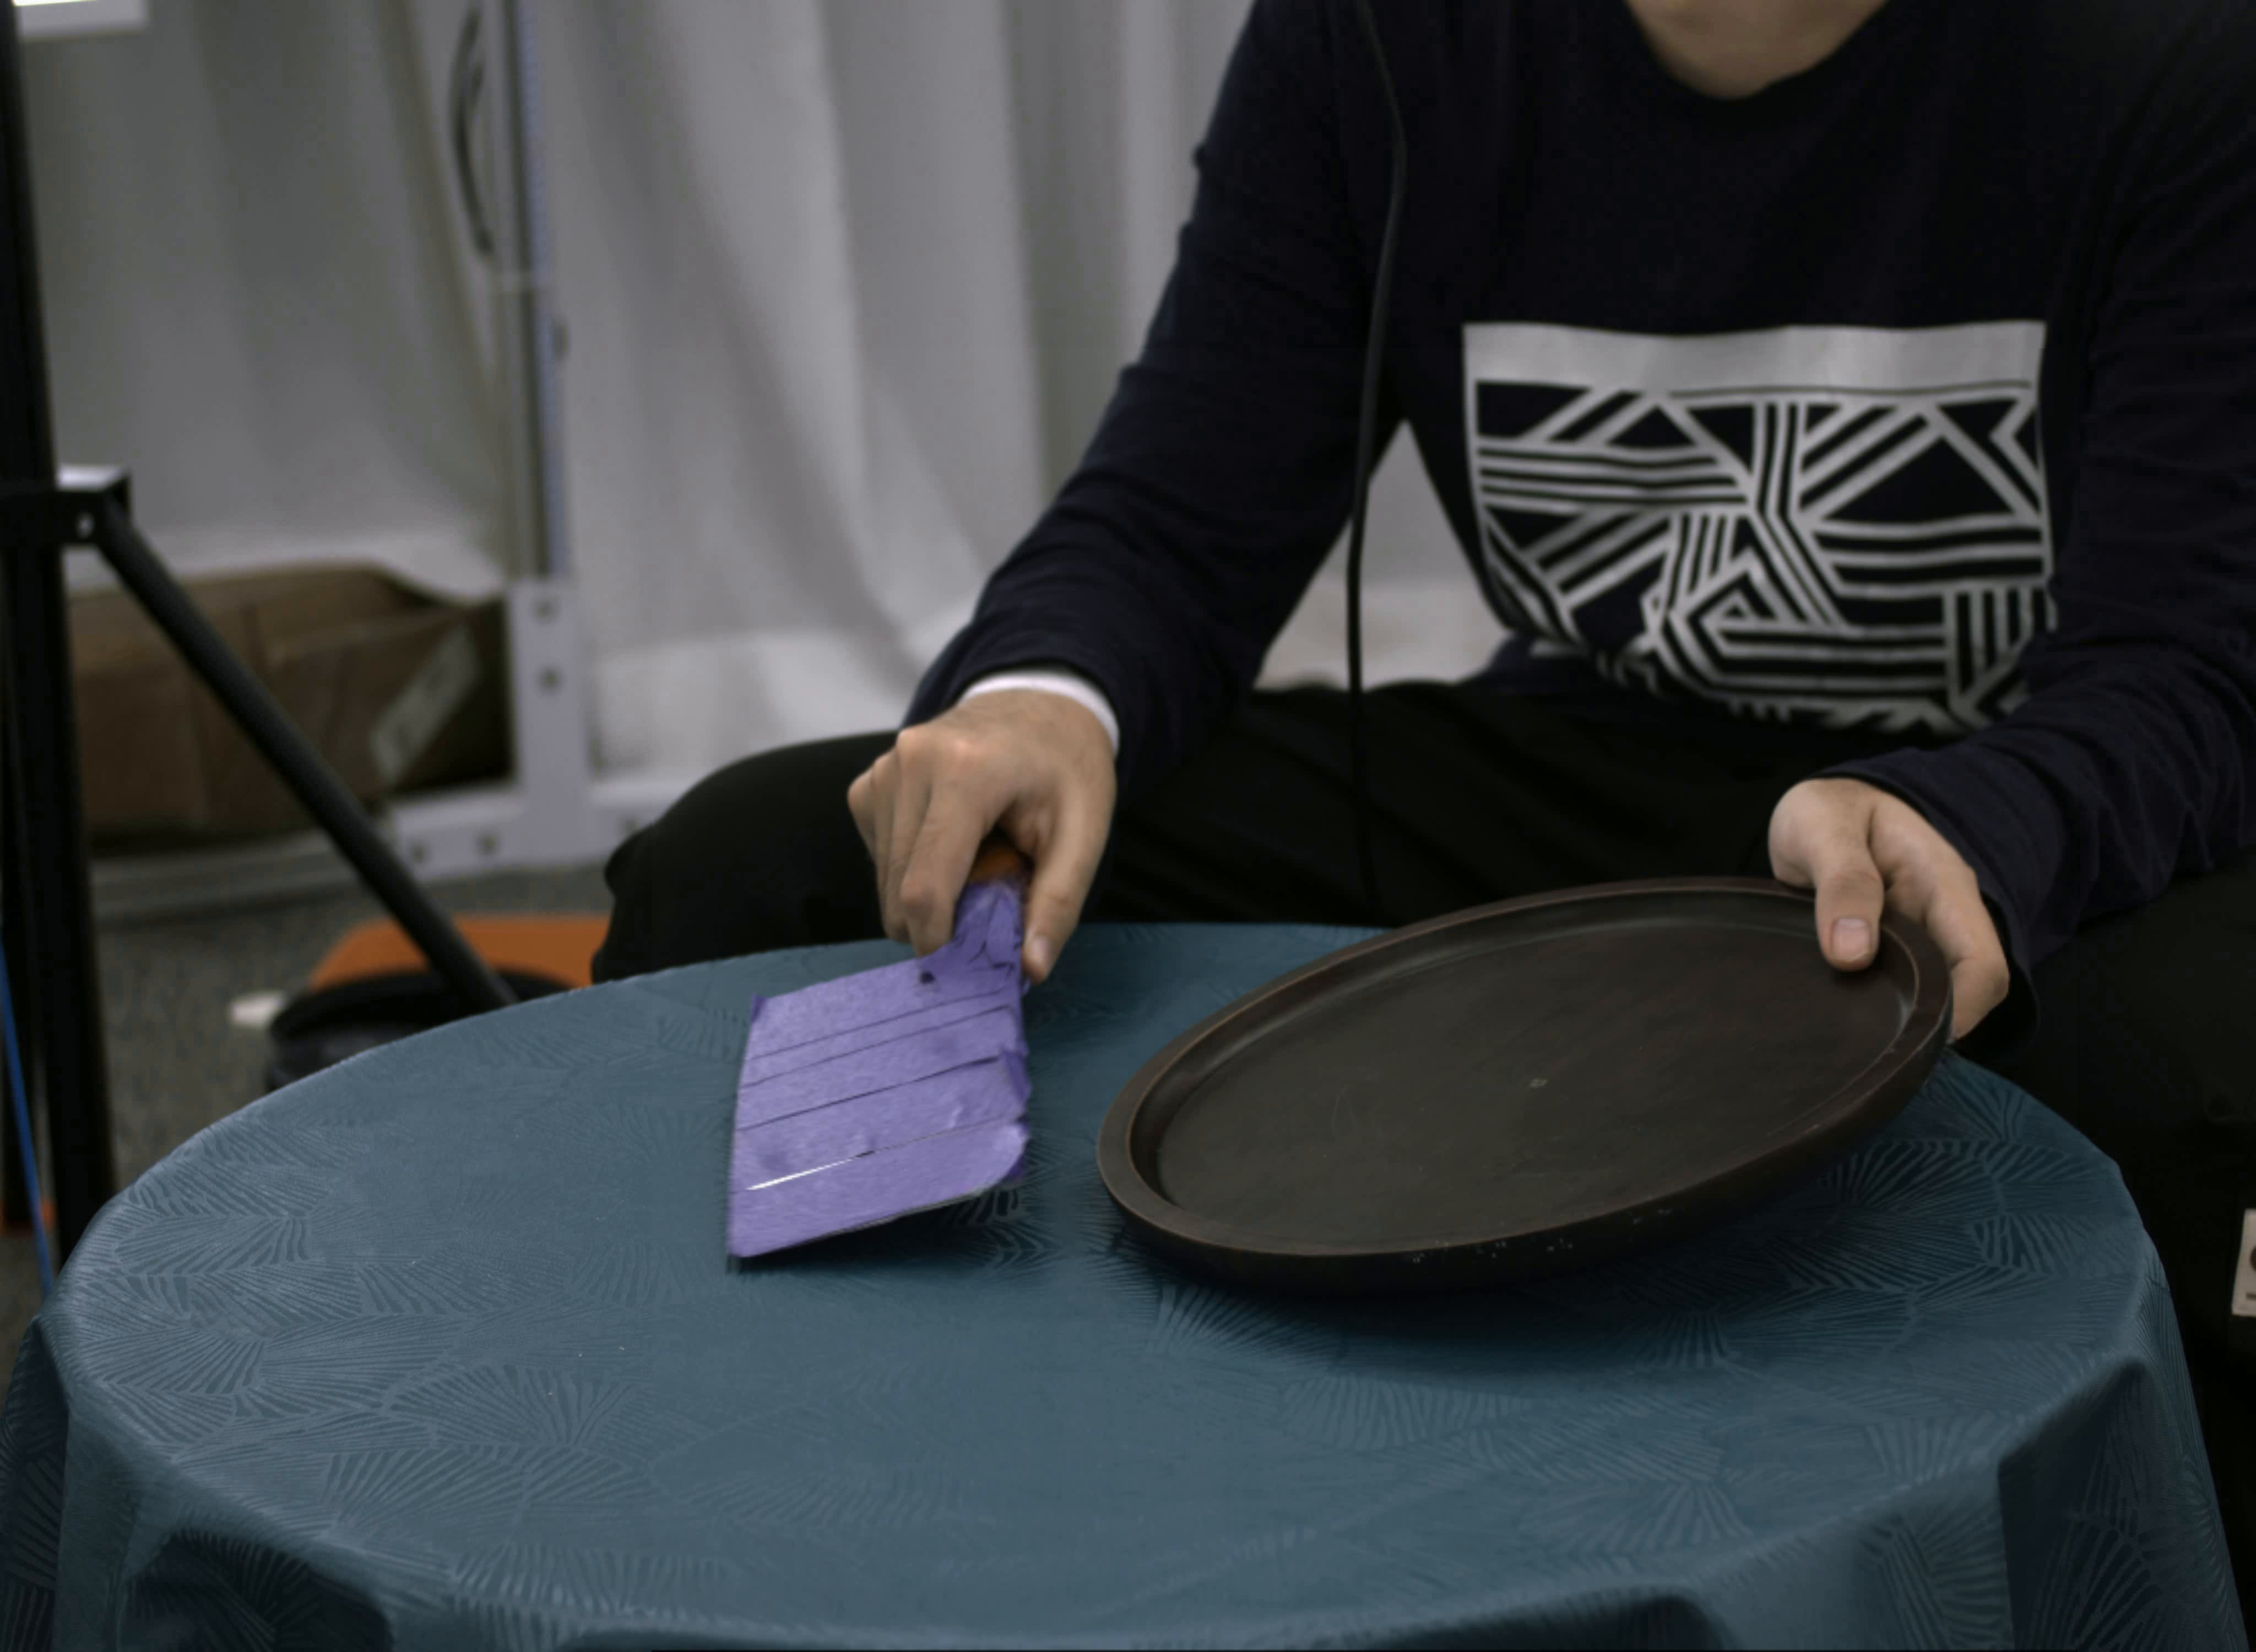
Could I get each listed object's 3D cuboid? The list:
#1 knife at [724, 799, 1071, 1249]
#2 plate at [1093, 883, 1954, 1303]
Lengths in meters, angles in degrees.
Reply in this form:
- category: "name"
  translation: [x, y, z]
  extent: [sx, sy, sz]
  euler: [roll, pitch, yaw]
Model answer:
- category: "knife"
  translation: [-0.074, 0.057, 1.653]
  extent: [0.103, 0.032, 0.317]
  euler: [-16, 17, 2]
- category: "plate"
  translation: [0.114, 0.075, 1.531]
  extent: [0.254, 0.029, 0.256]
  euler: [-15, 20, 4]
